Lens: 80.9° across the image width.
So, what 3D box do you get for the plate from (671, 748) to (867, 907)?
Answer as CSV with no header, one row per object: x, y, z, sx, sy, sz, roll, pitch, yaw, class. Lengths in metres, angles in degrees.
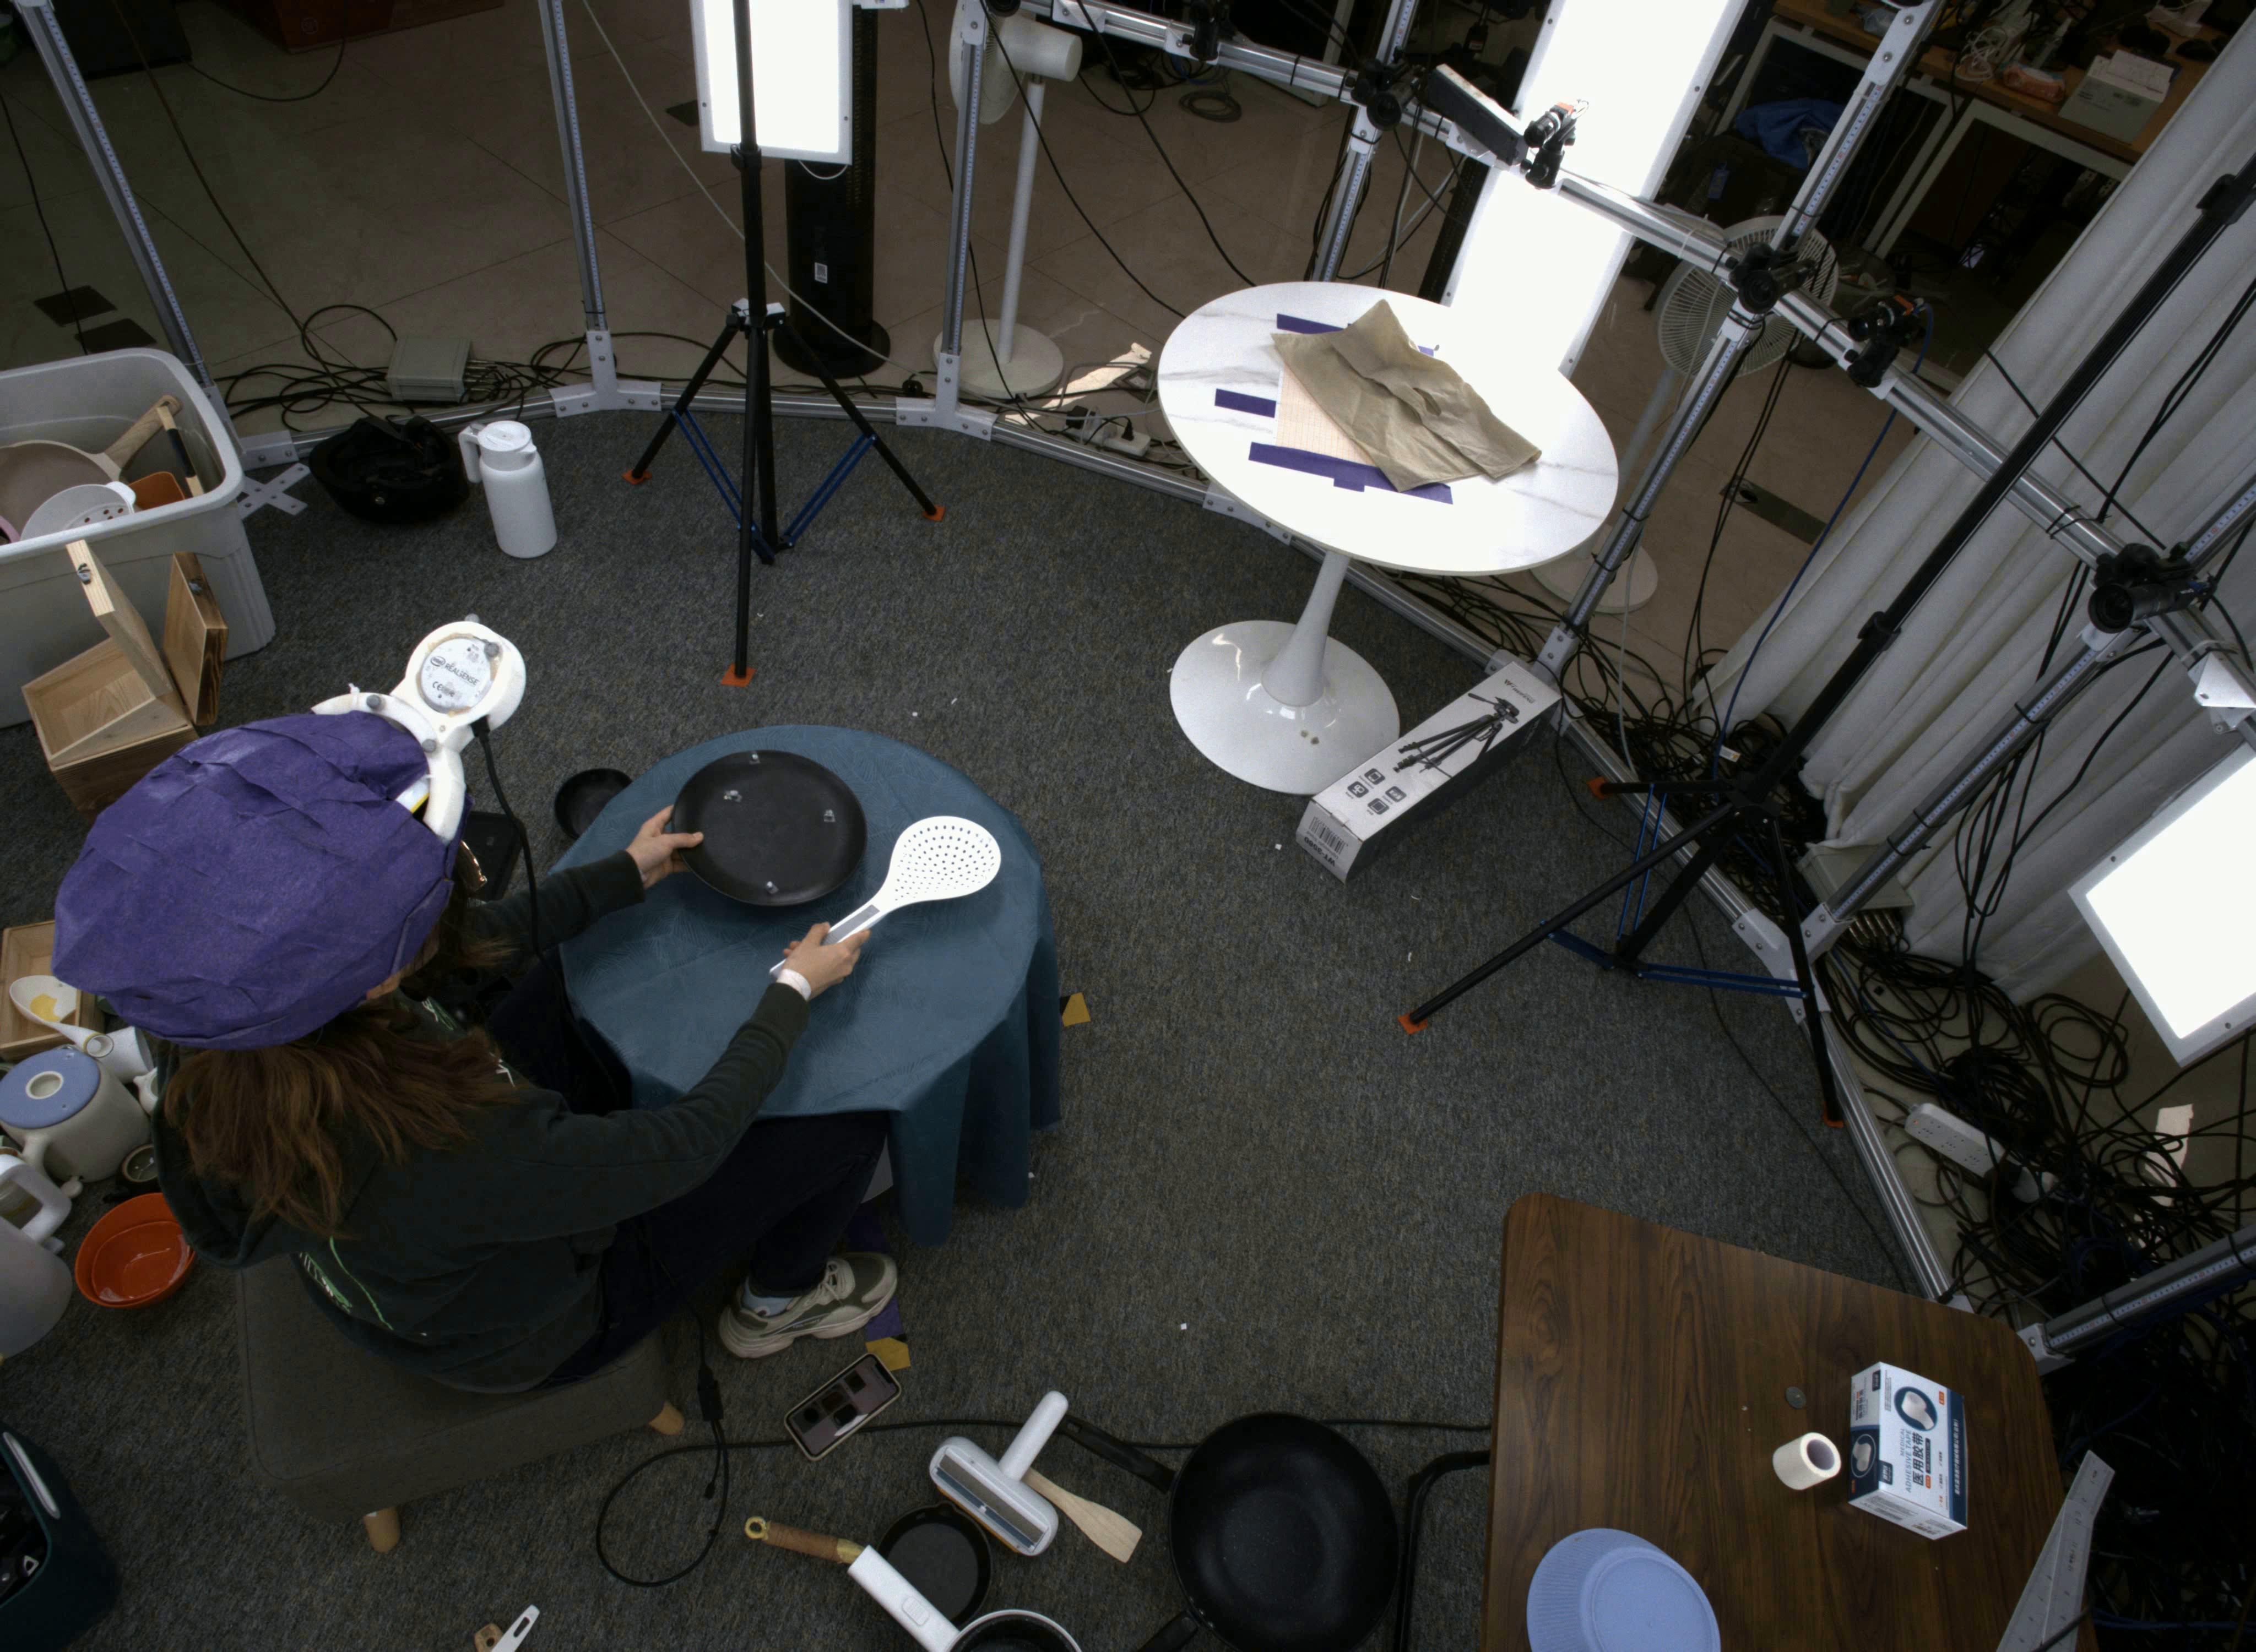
-0.457,0.002,1.651,0.246,0.023,0.240,13,52,-16,plate

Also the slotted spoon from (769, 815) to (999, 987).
-0.303,0.093,1.624,0.132,0.047,0.351,36,46,19,slotted spoon
